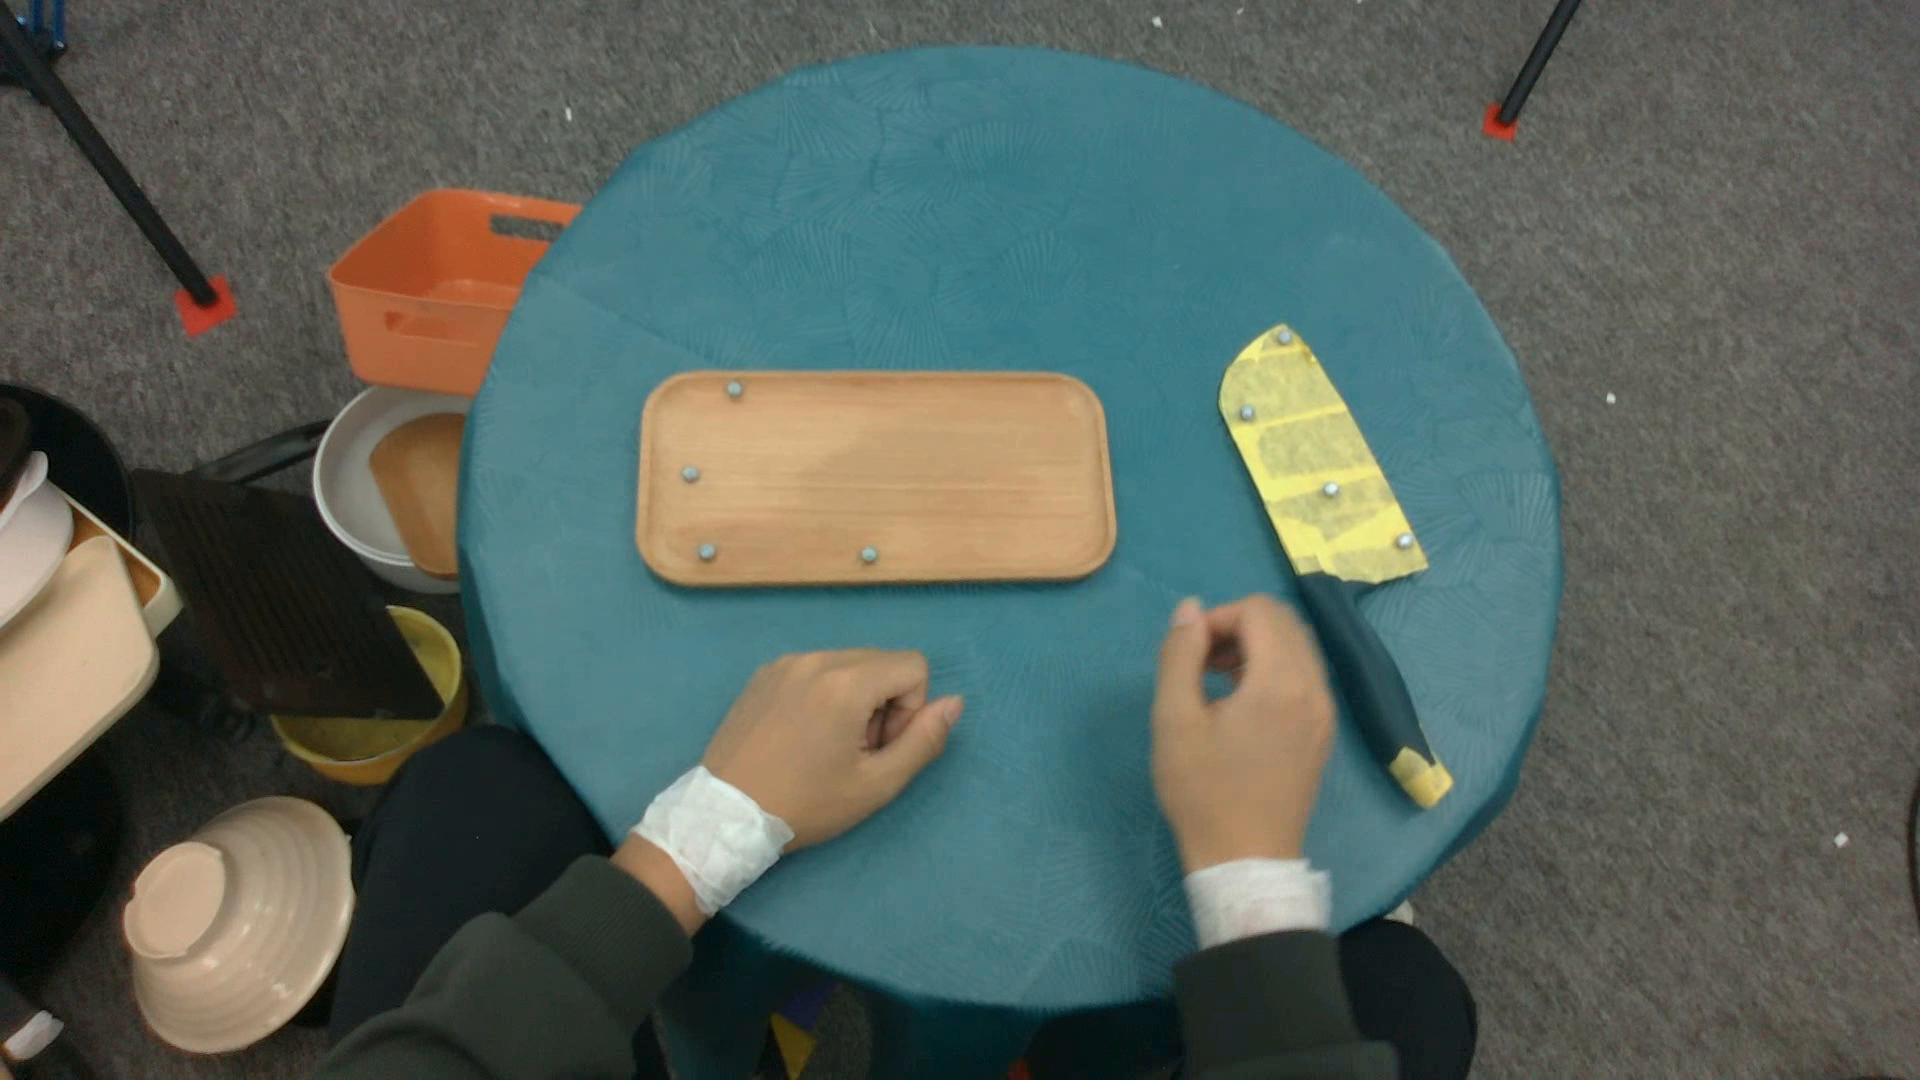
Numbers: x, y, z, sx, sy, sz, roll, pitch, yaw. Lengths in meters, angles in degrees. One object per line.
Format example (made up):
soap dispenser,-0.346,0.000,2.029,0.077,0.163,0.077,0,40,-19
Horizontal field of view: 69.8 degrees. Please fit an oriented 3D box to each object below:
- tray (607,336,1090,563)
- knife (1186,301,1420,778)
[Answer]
tray,-0.058,-0.049,0.733,0.251,0.023,0.131,-1,68,-8
knife,0.193,-0.012,0.748,0.081,0.027,0.290,-12,66,-10
